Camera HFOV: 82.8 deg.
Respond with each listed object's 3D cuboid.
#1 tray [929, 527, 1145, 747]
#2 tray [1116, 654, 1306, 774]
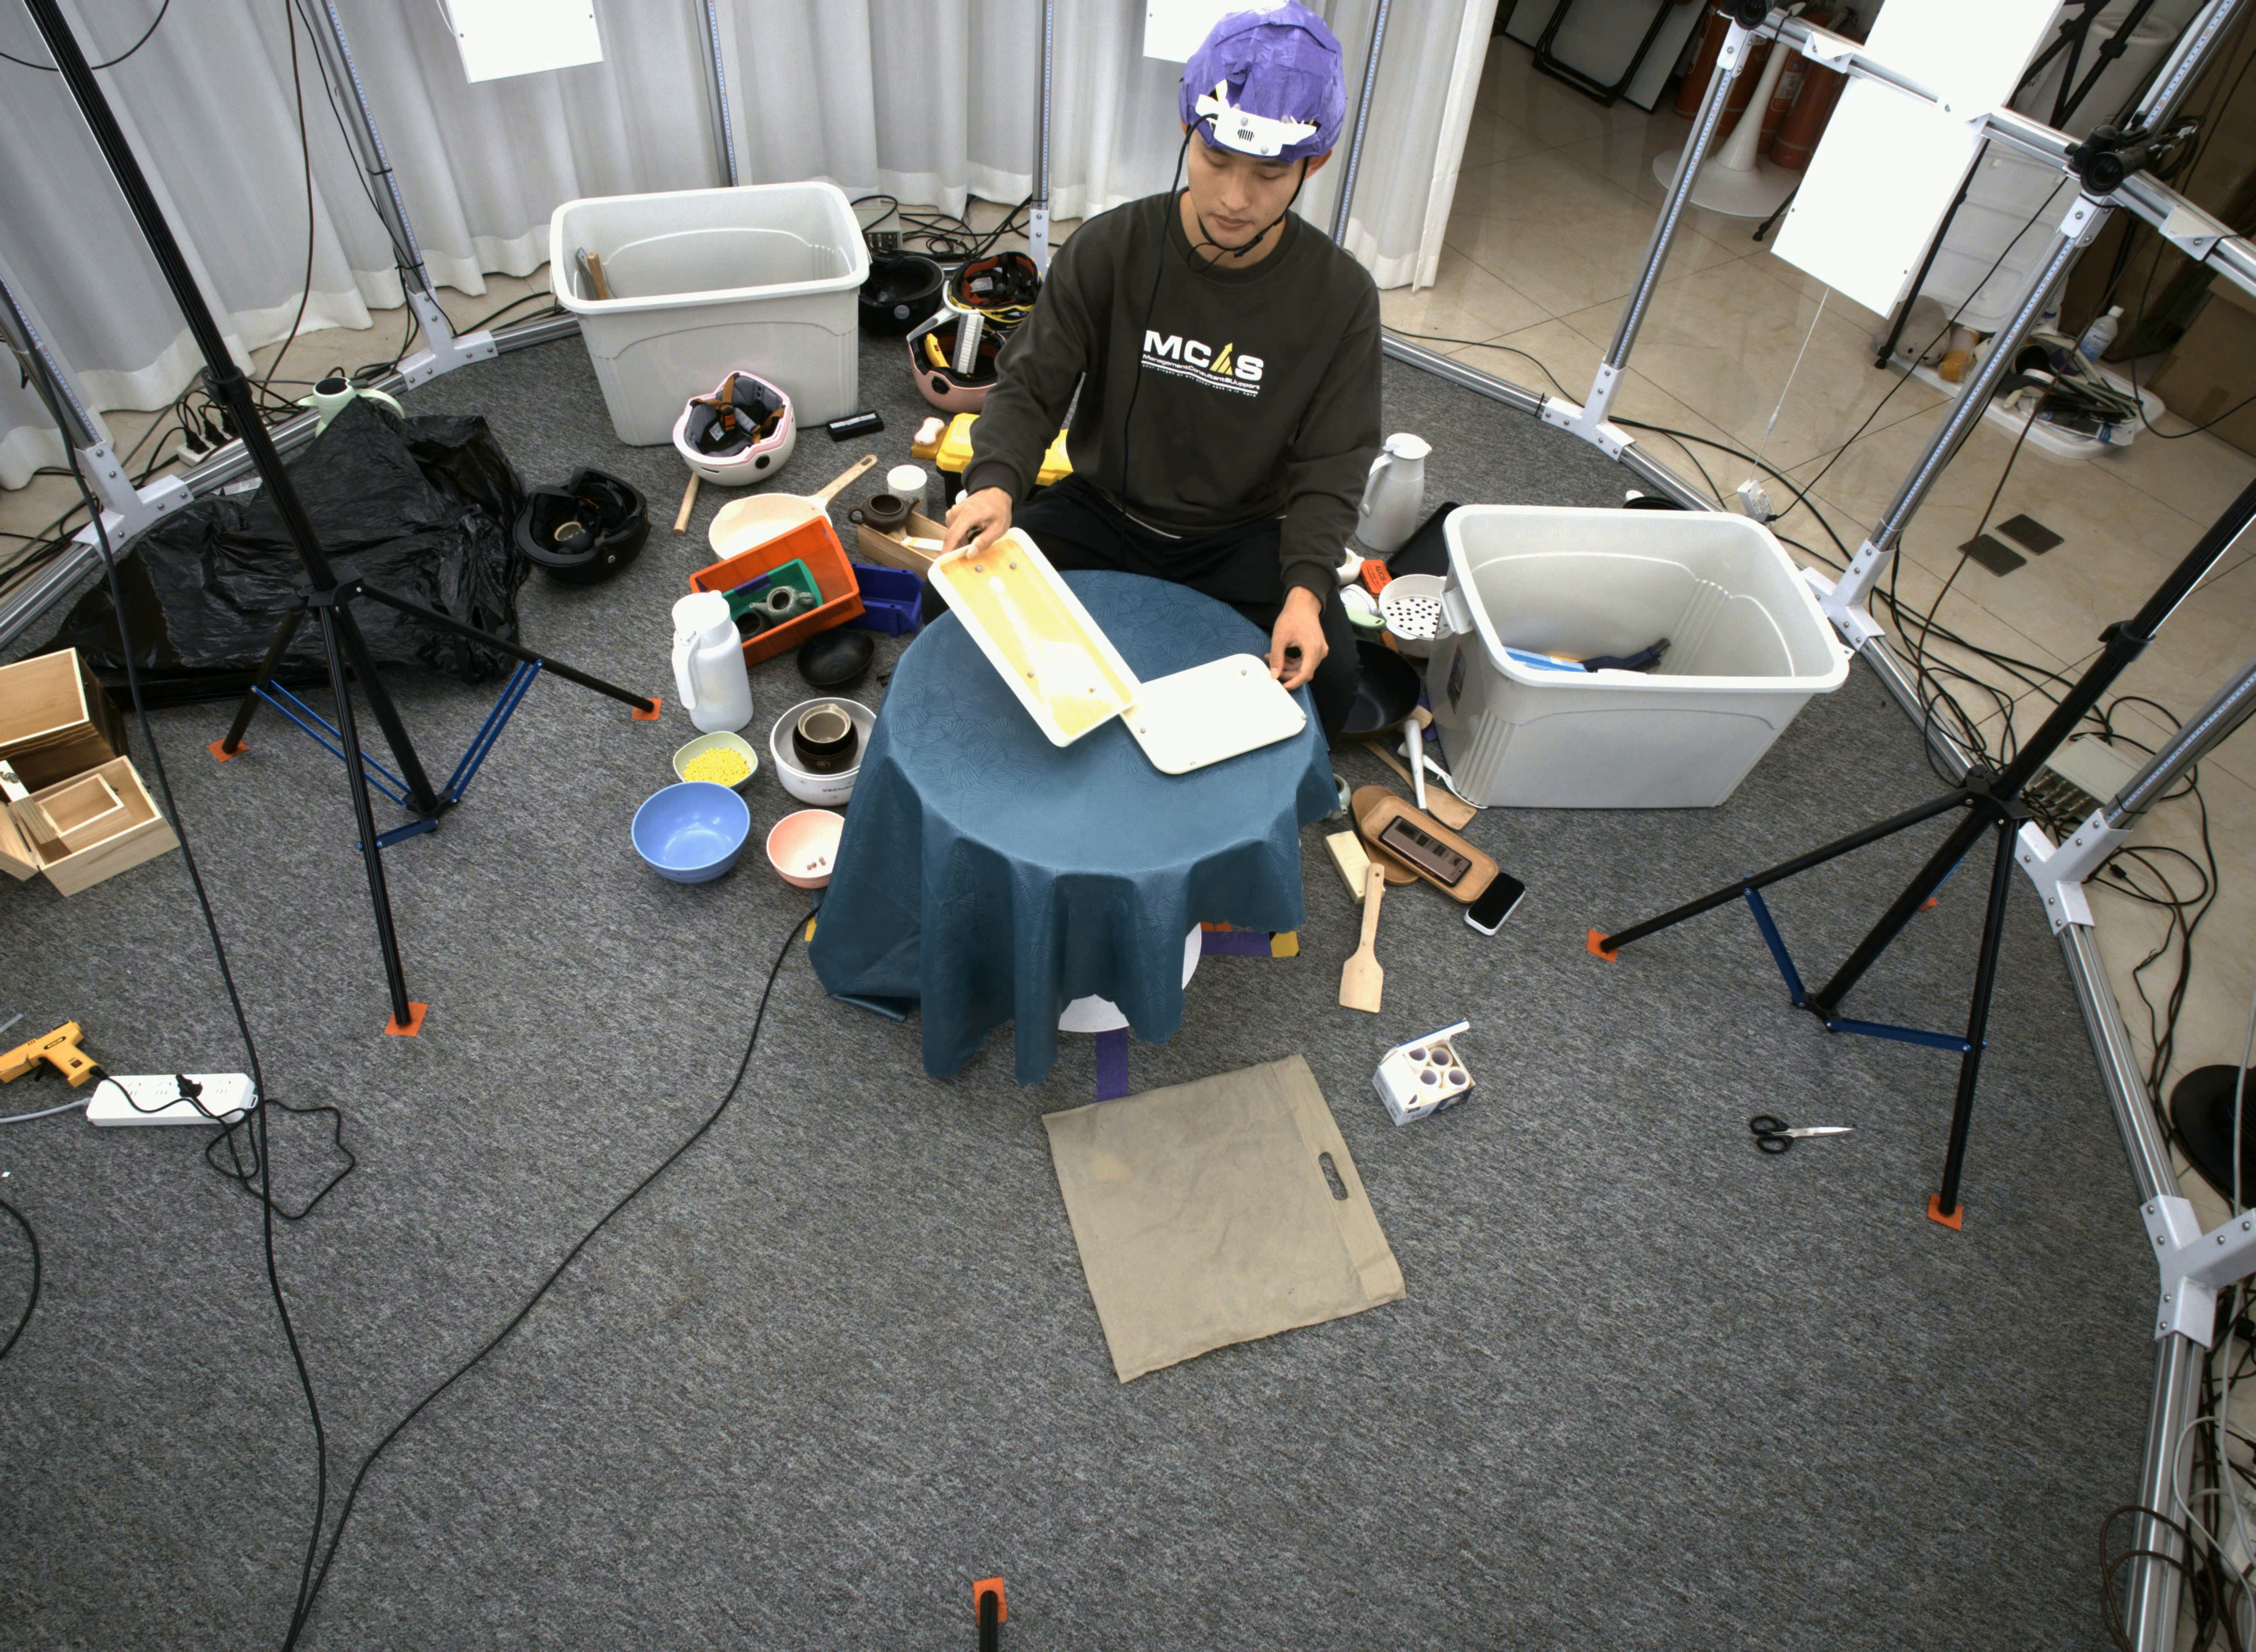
[{"bbox_3d":[-0.119,-0.260,1.744,0.301,0.027,0.193,53,44,3],"label":"tray"},{"bbox_3d":[0.115,-0.158,1.799,0.240,0.017,0.175,-19,52,-20],"label":"tray"}]
